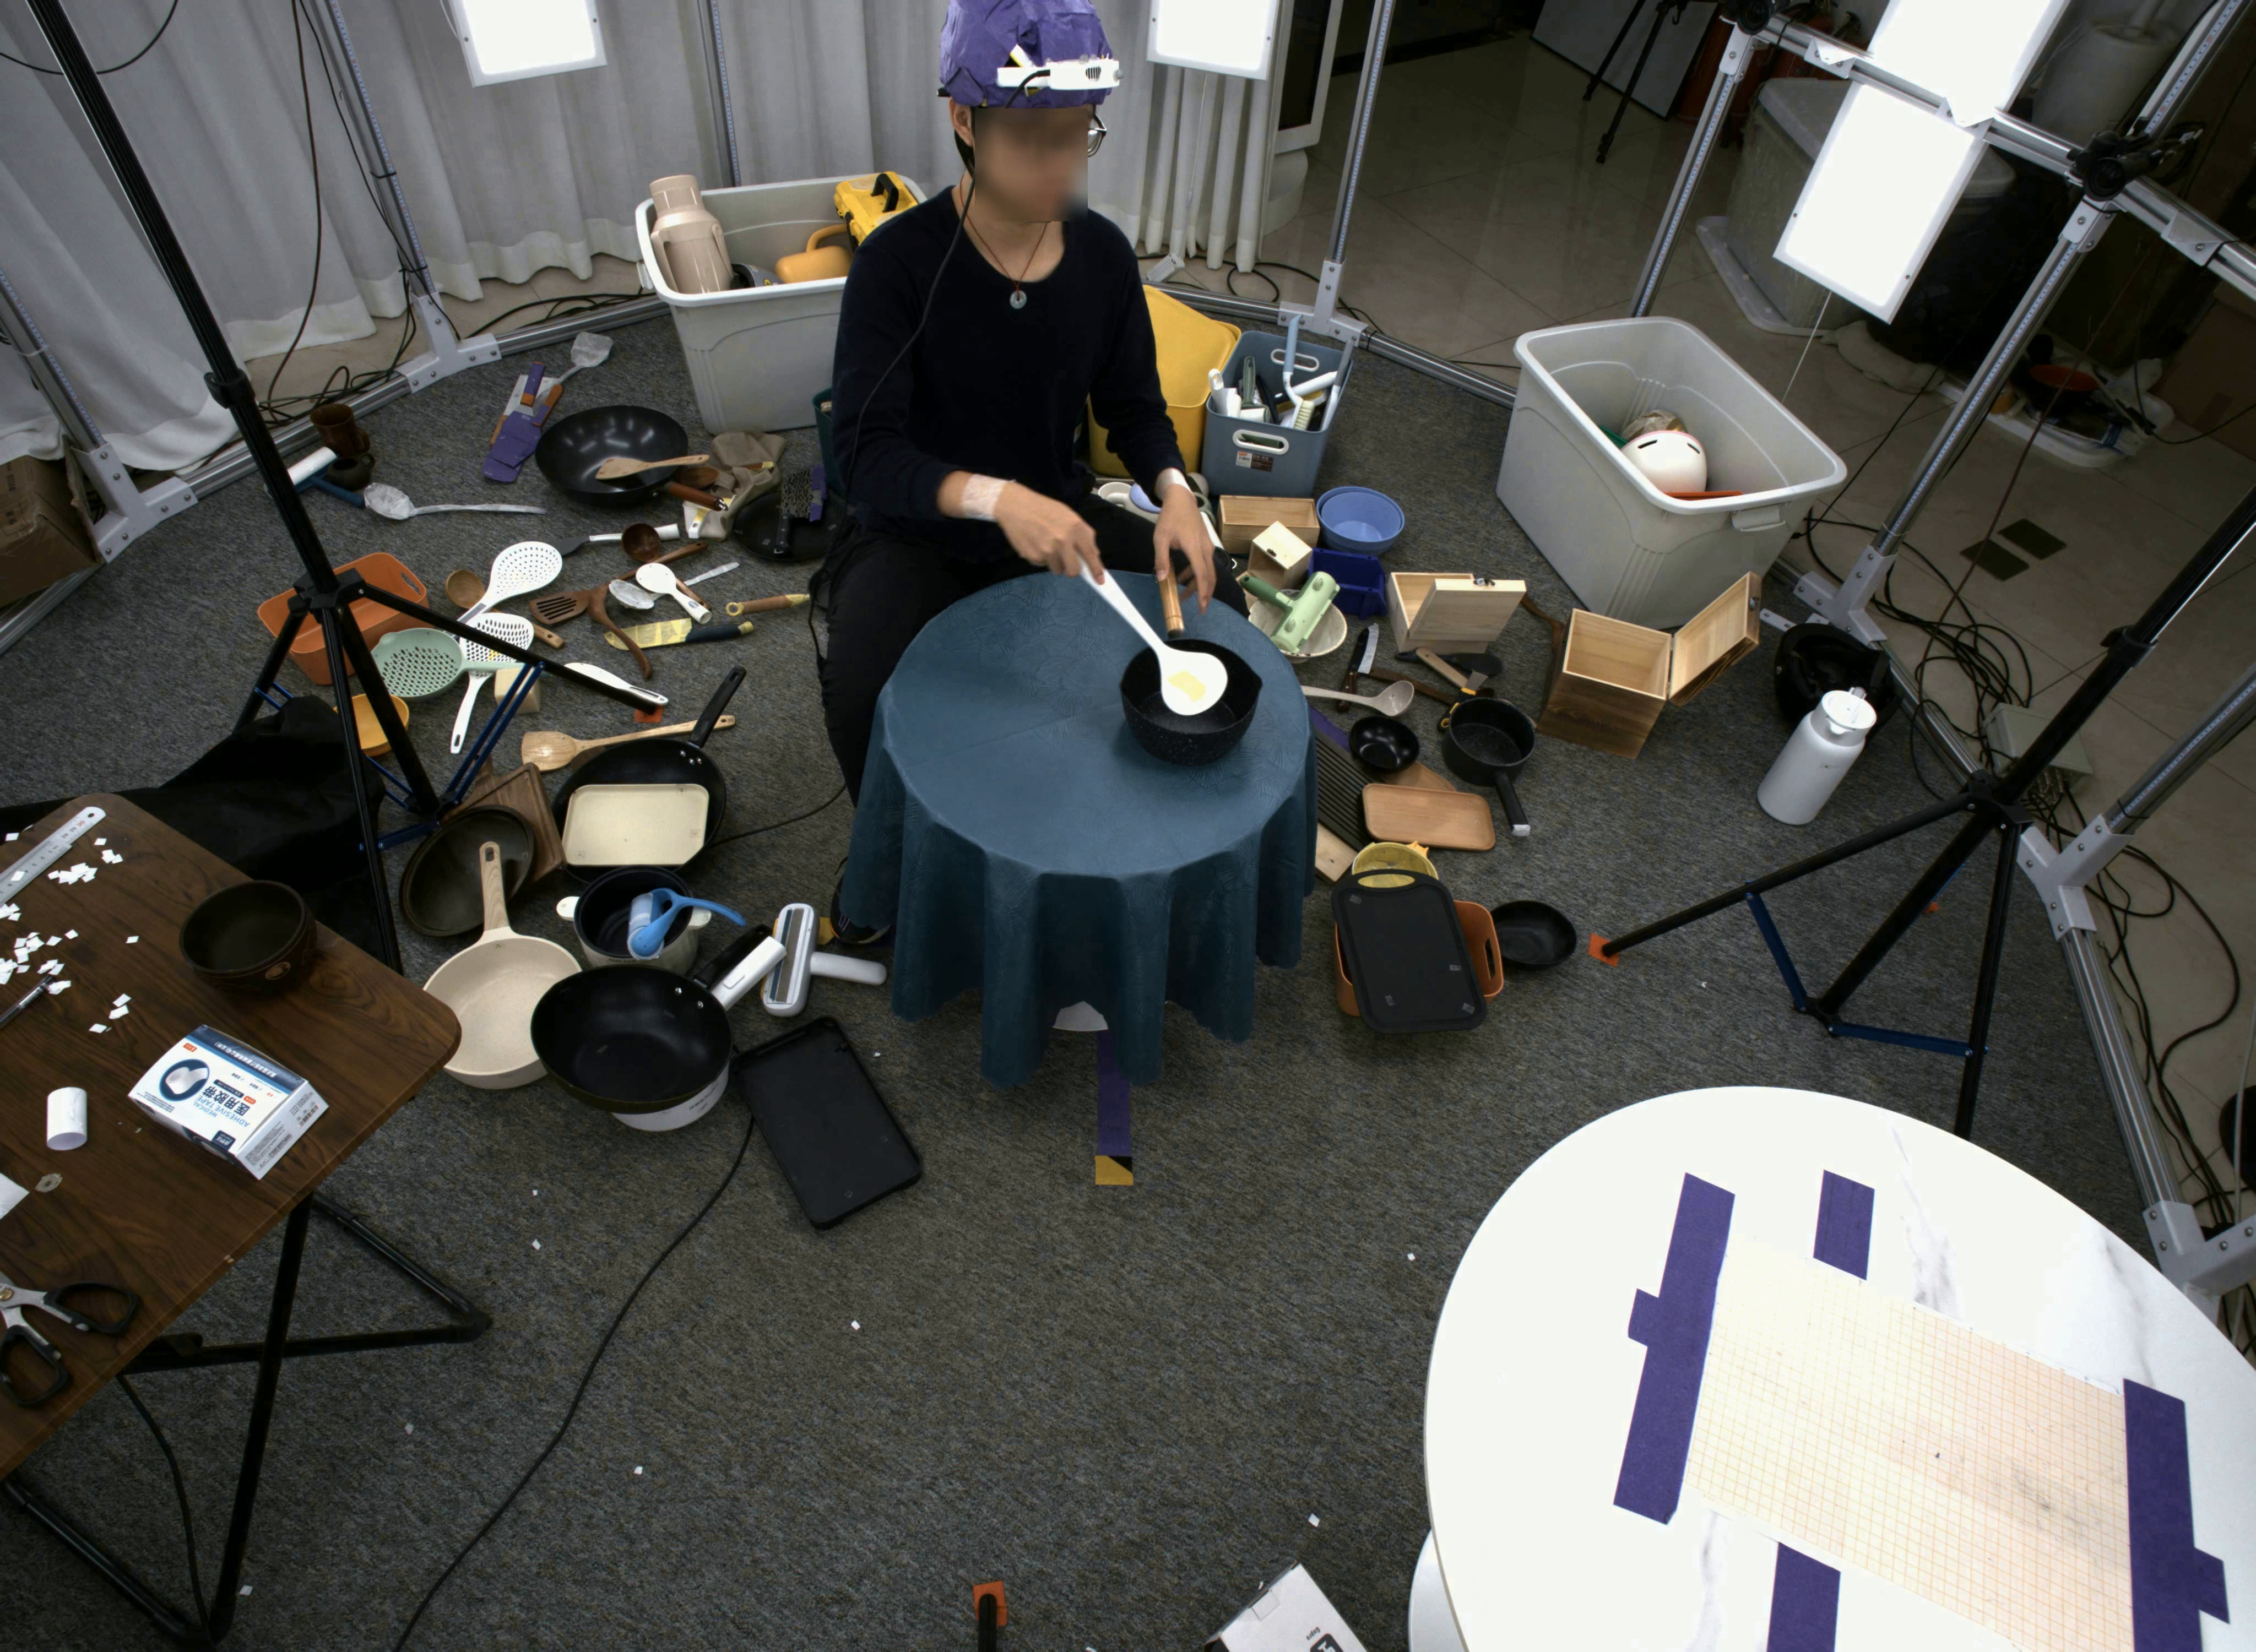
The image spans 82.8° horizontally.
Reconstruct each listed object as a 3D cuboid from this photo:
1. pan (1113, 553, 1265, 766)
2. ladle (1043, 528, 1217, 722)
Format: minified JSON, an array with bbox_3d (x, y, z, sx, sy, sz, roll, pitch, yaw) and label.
[{"bbox_3d":[0.070,-0.234,1.807,0.207,0.105,0.351,-5,51,-7],"label":"pan"},{"bbox_3d":[0.000,-0.259,1.650,0.090,0.289,0.071,-40,20,8],"label":"ladle"}]
